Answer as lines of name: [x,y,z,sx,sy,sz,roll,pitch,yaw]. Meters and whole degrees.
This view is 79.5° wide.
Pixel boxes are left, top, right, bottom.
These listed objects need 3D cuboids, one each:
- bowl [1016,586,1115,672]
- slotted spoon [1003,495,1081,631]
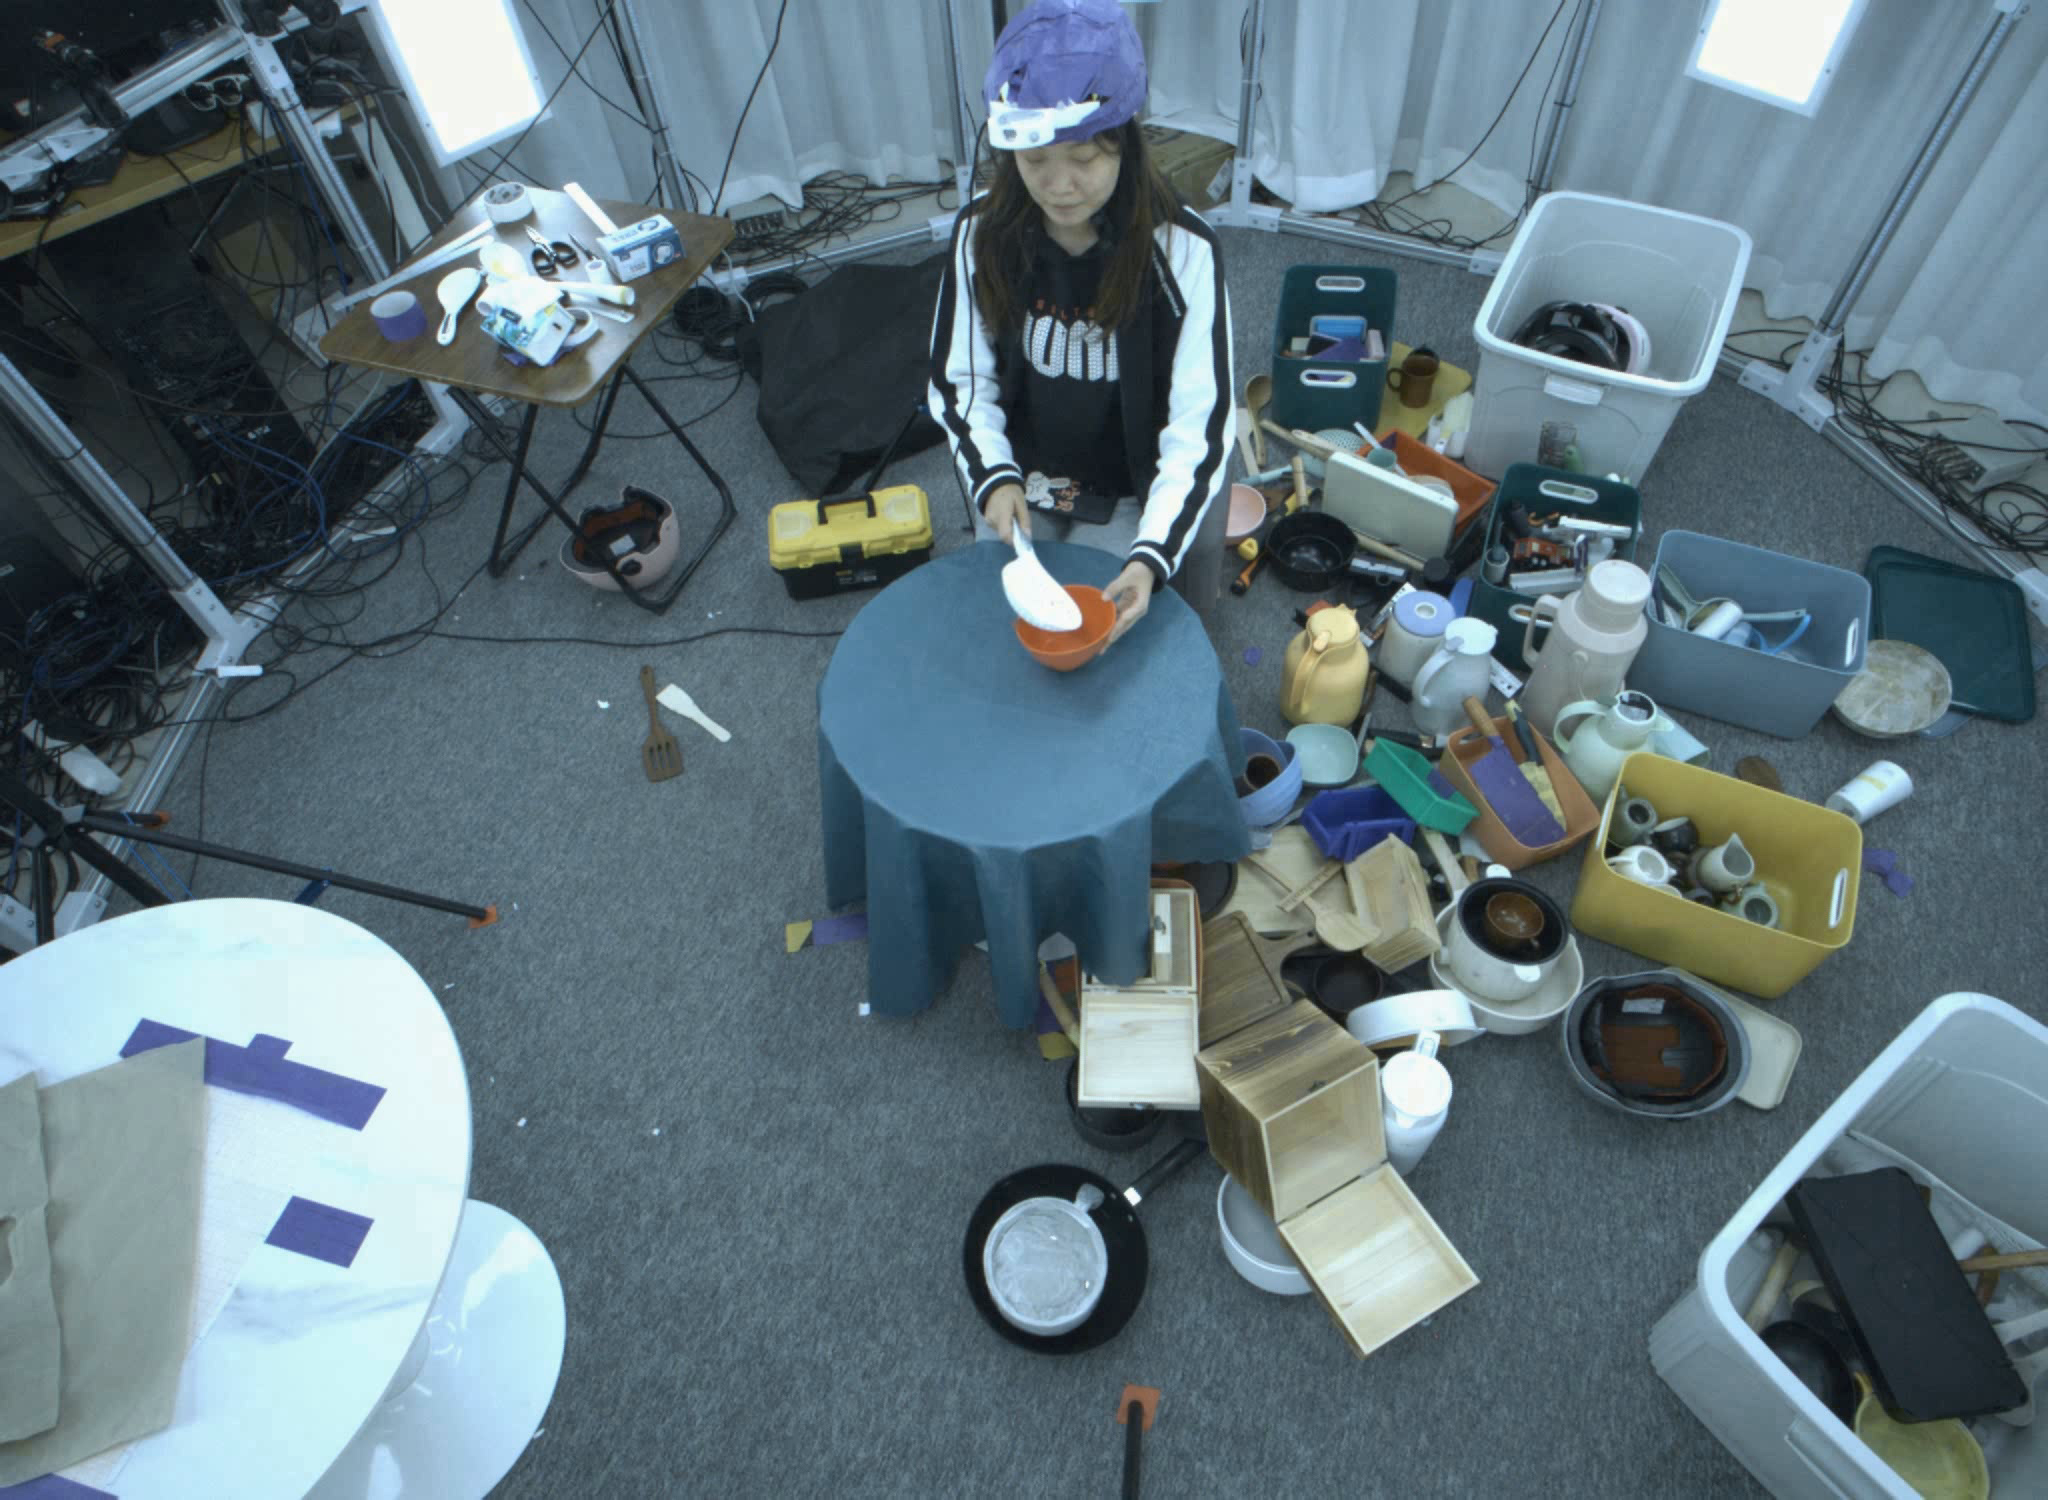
bowl: [0.064,-0.167,1.831,0.147,0.106,0.146,-3,56,5]
slotted spoon: [0.005,-0.288,1.846,0.139,0.045,0.344,22,39,-30]
